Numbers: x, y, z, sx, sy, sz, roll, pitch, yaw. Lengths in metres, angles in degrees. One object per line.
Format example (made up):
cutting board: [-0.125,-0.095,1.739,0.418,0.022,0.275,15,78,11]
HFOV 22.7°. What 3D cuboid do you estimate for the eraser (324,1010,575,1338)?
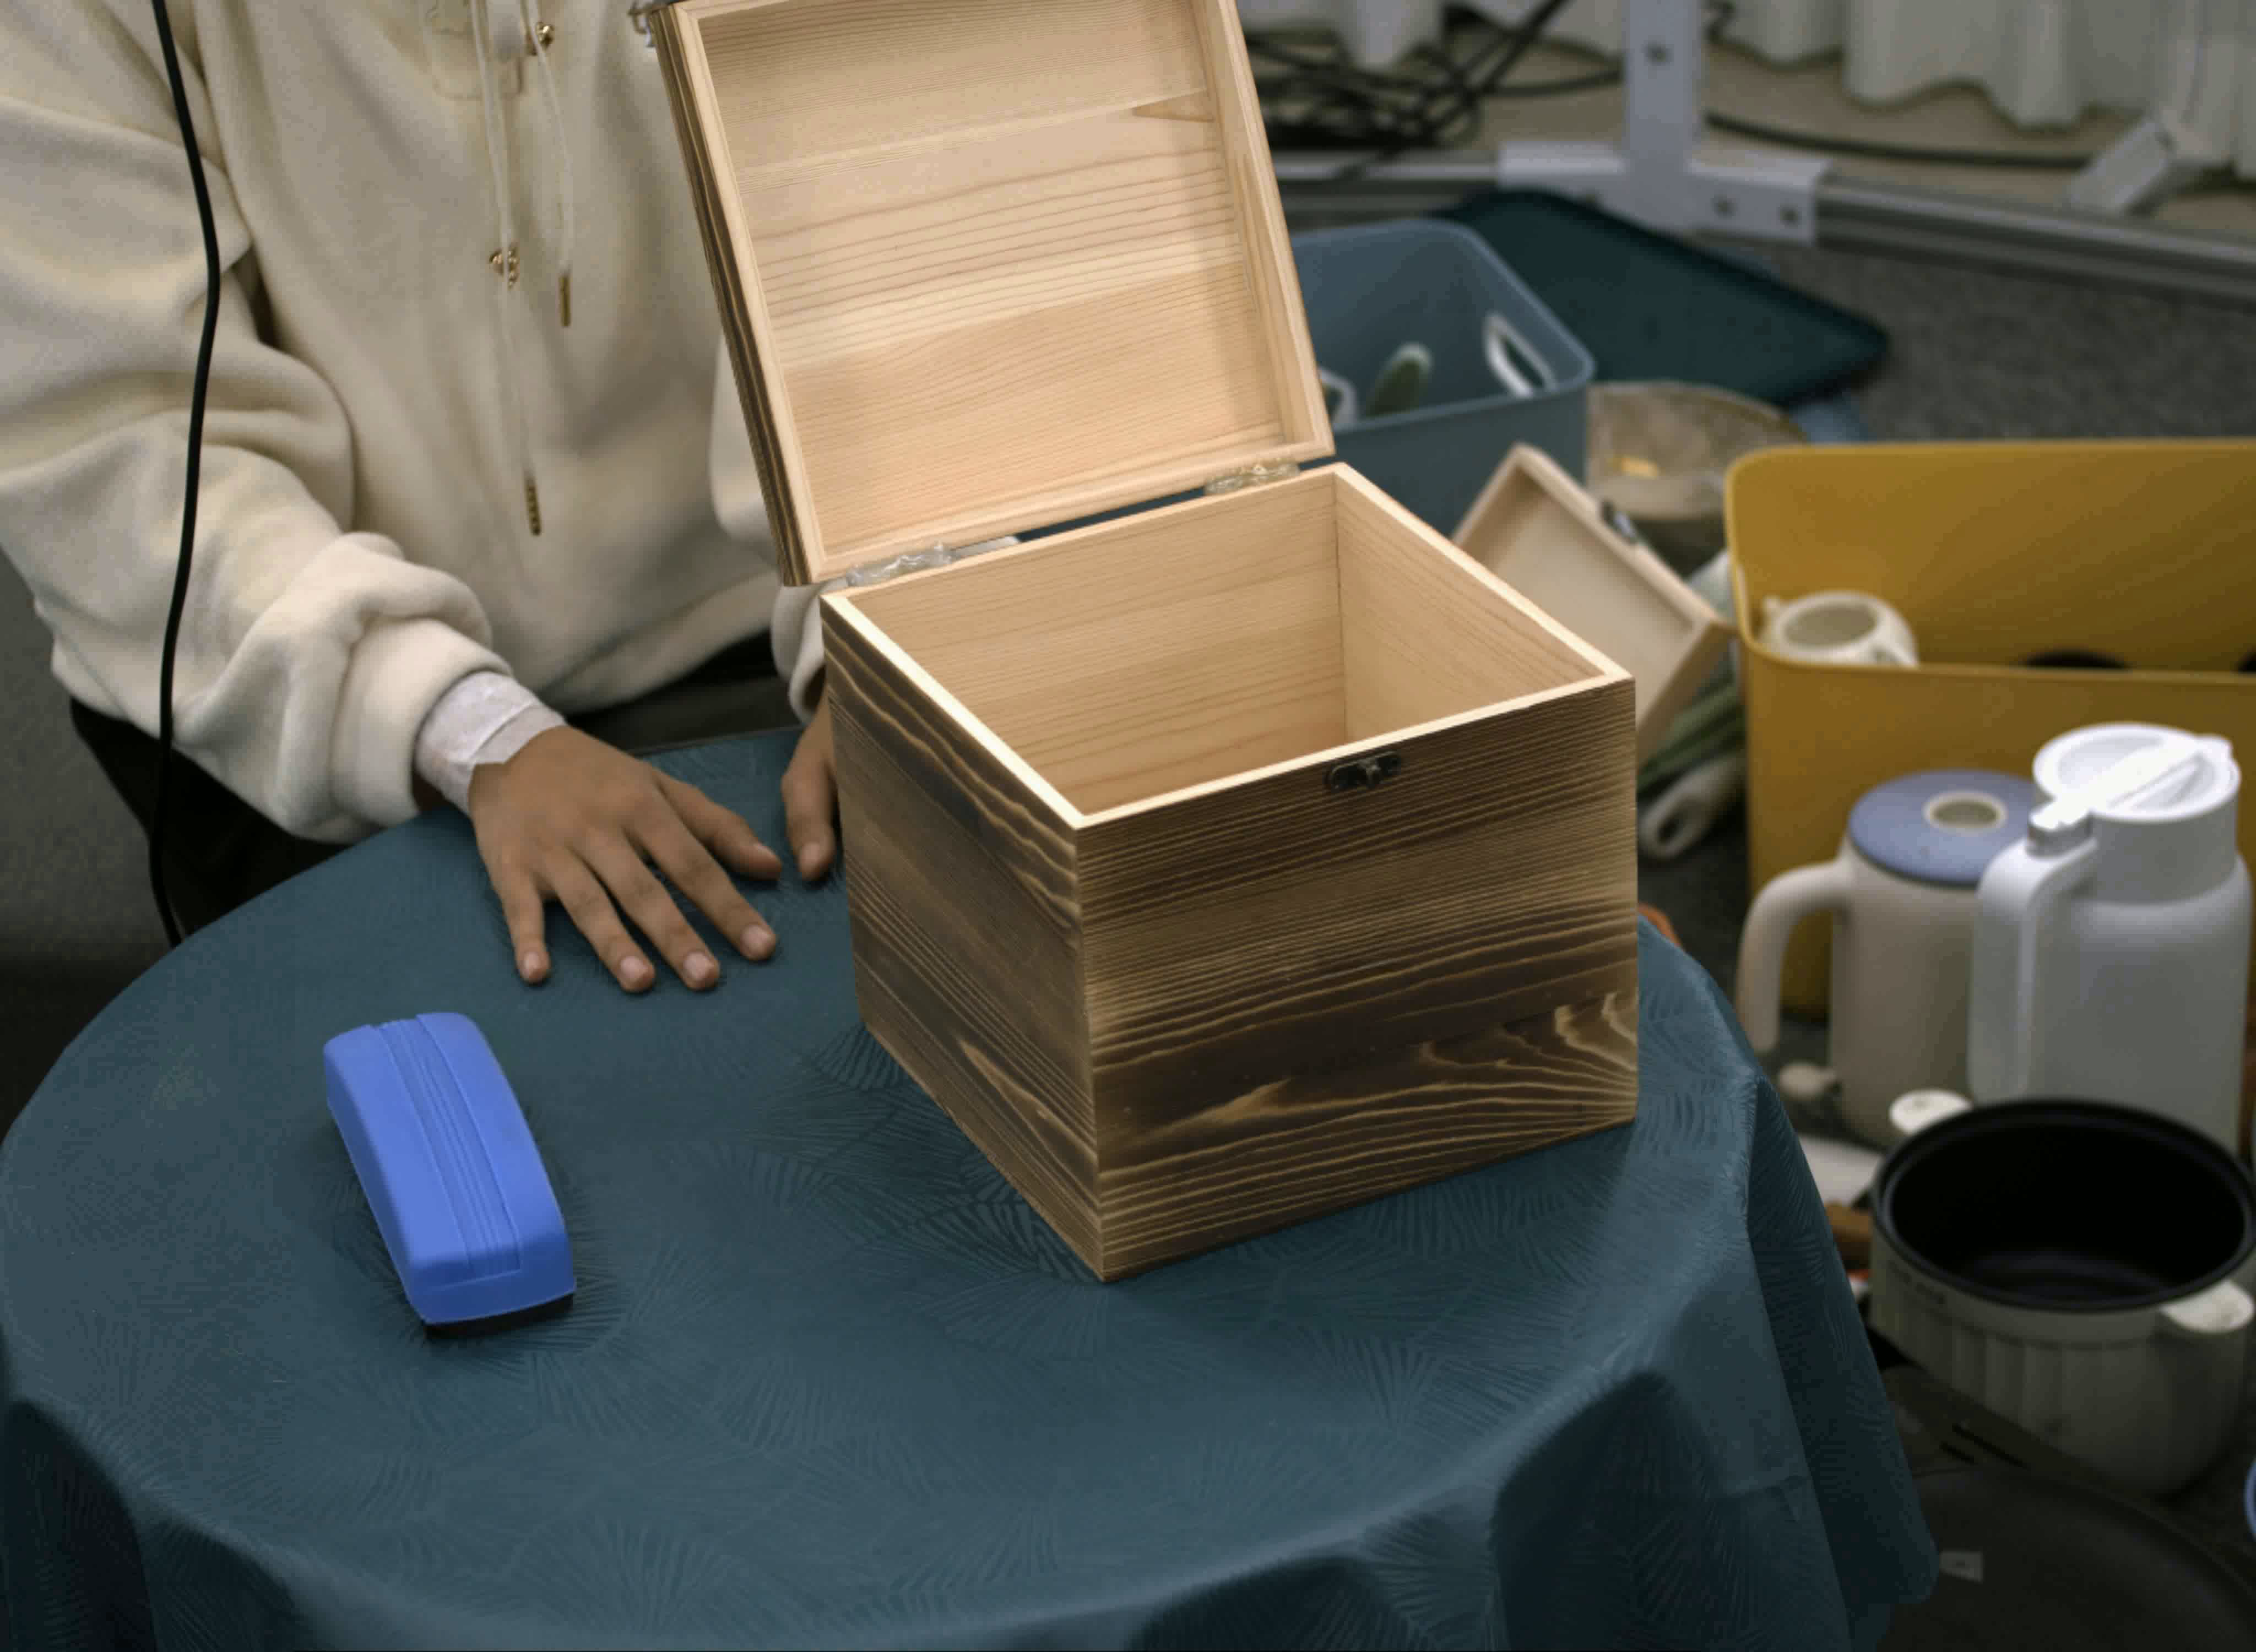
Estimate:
eraser: [-0.227,0.109,1.857,0.054,0.047,0.164,-11,29,-15]

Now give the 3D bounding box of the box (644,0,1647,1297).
box: [0.004,-0.093,1.894,0.209,0.372,0.324,-15,27,-21]
